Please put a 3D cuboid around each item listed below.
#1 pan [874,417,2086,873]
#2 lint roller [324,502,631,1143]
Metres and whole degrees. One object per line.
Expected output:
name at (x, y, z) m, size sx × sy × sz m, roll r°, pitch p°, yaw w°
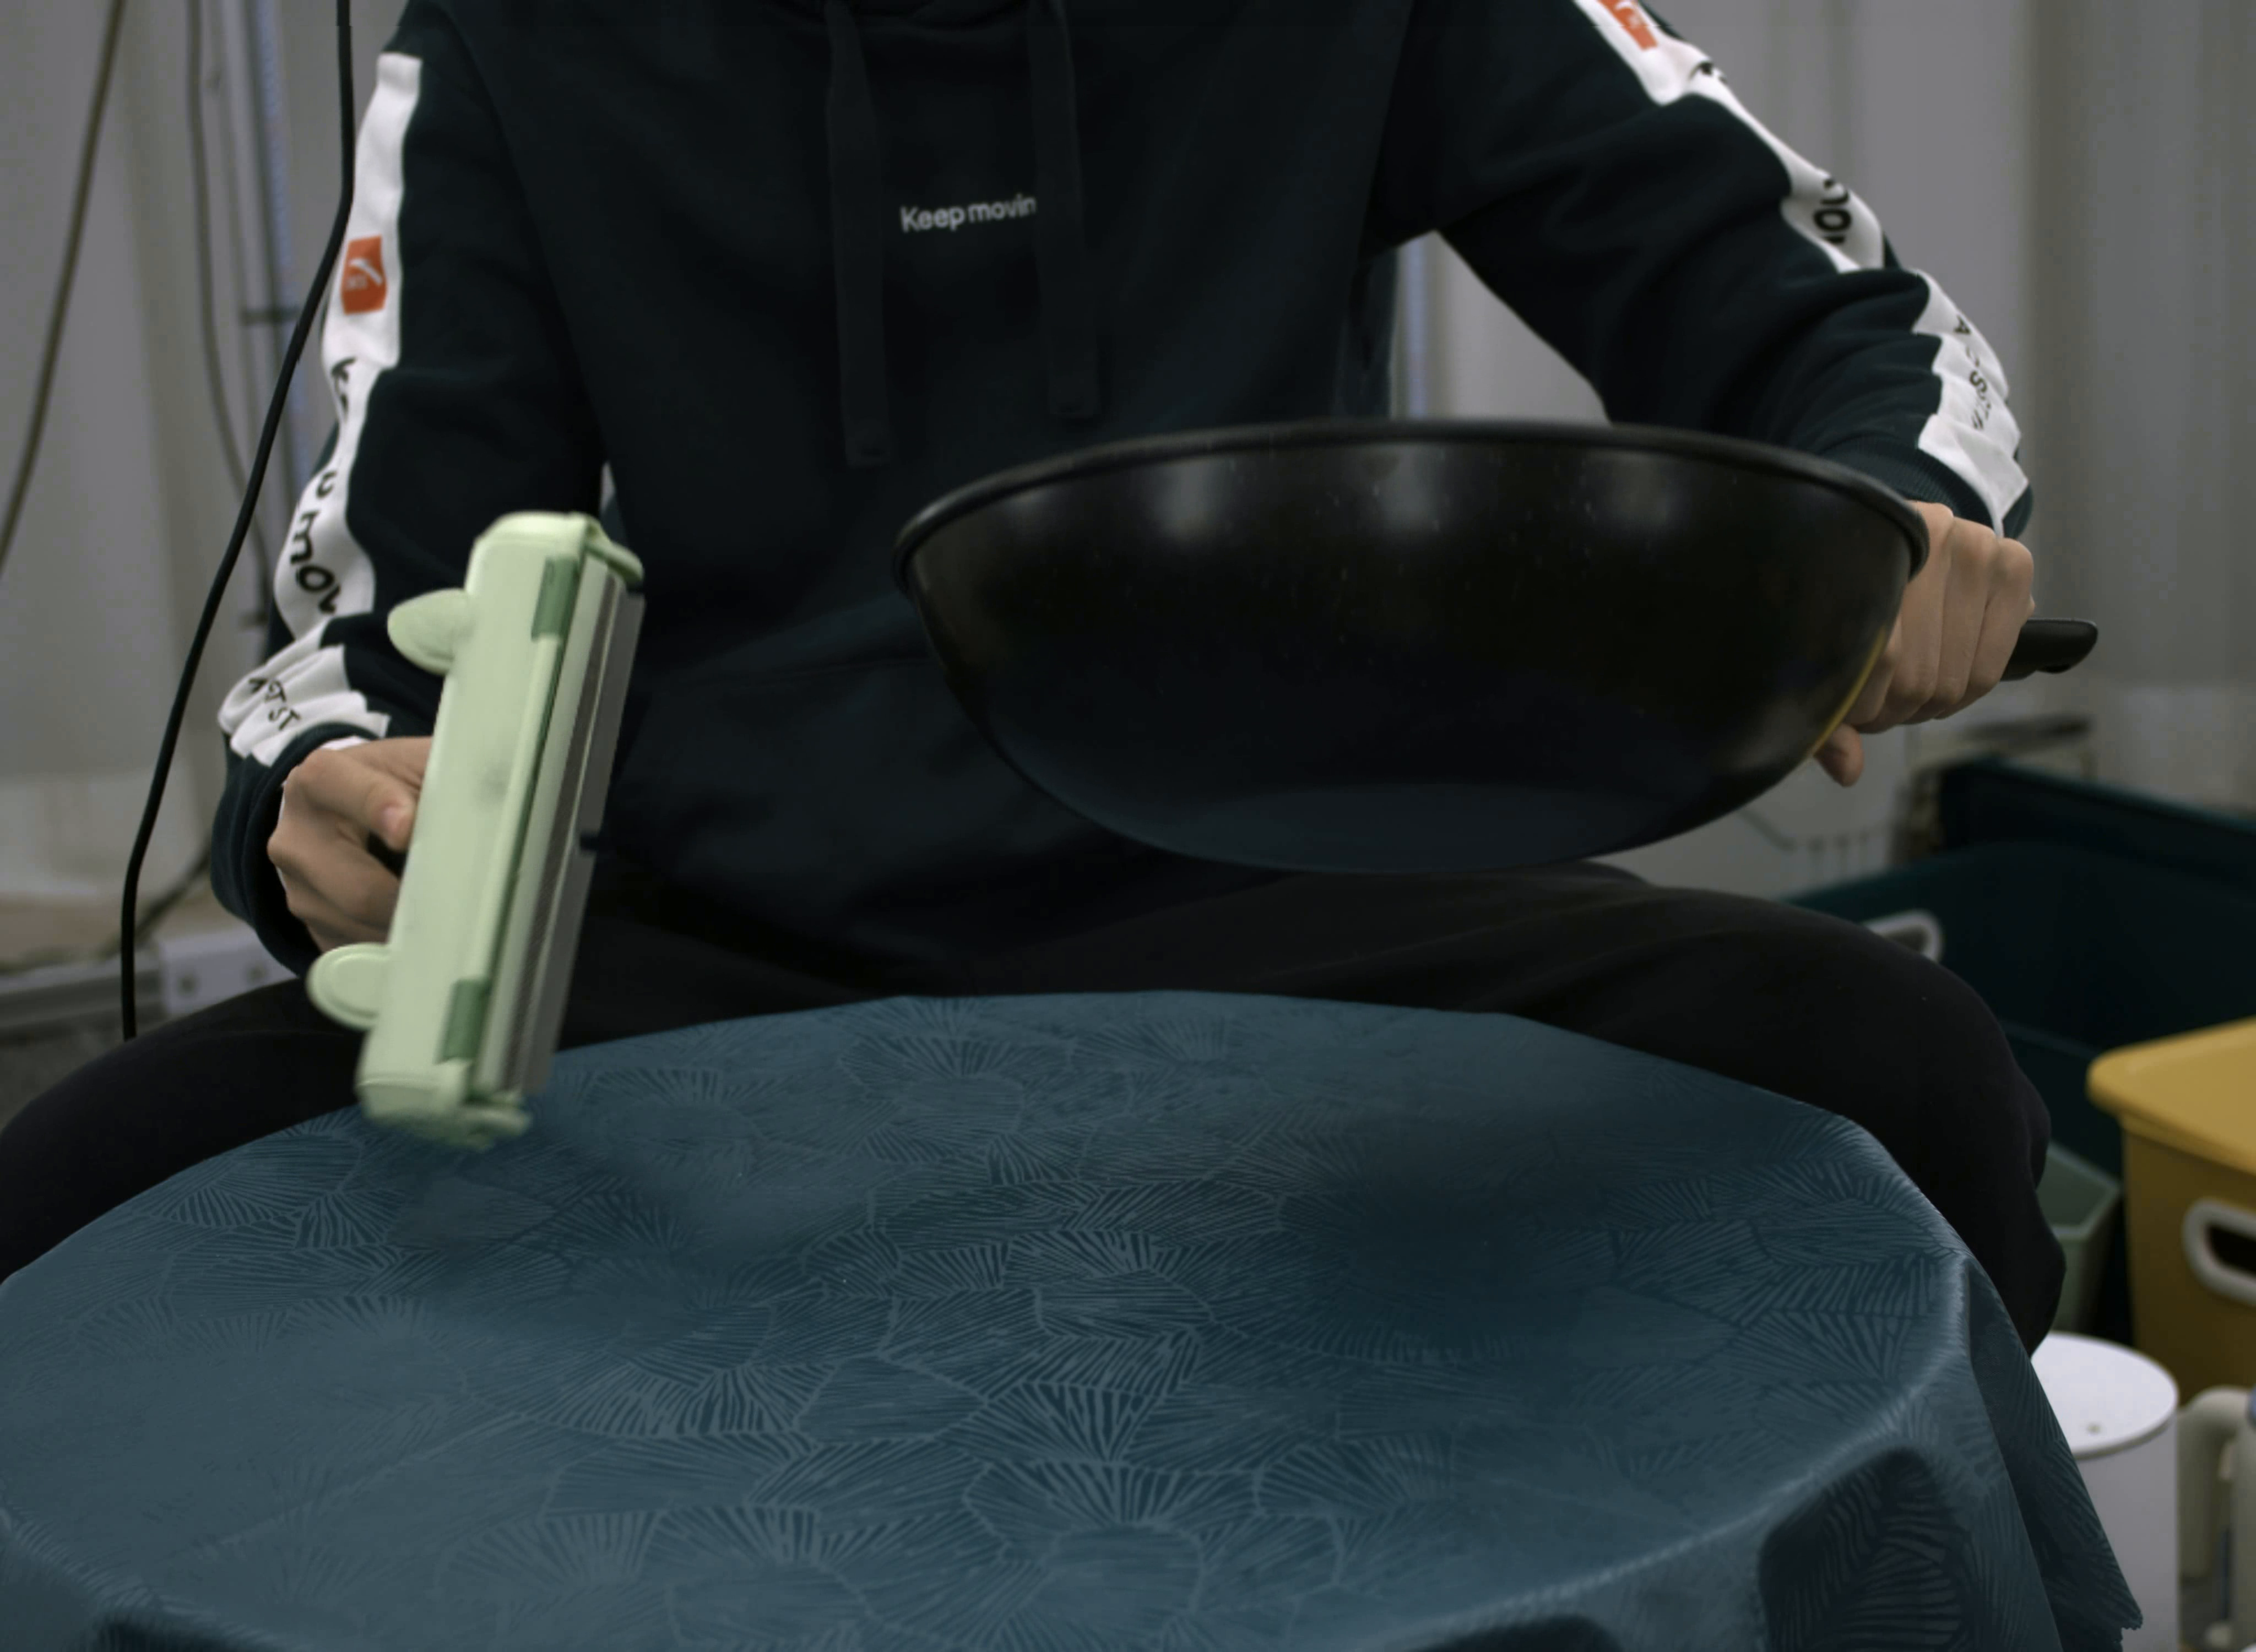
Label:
pan at (0.140, -0.042, 1.676) m, size 0.473 × 0.112 × 0.310 m, roll 10°, pitch -14°, yaw -42°
lint roller at (-0.226, 0.005, 1.750) m, size 0.081 × 0.200 × 0.183 m, roll 15°, pitch -16°, yaw -27°
